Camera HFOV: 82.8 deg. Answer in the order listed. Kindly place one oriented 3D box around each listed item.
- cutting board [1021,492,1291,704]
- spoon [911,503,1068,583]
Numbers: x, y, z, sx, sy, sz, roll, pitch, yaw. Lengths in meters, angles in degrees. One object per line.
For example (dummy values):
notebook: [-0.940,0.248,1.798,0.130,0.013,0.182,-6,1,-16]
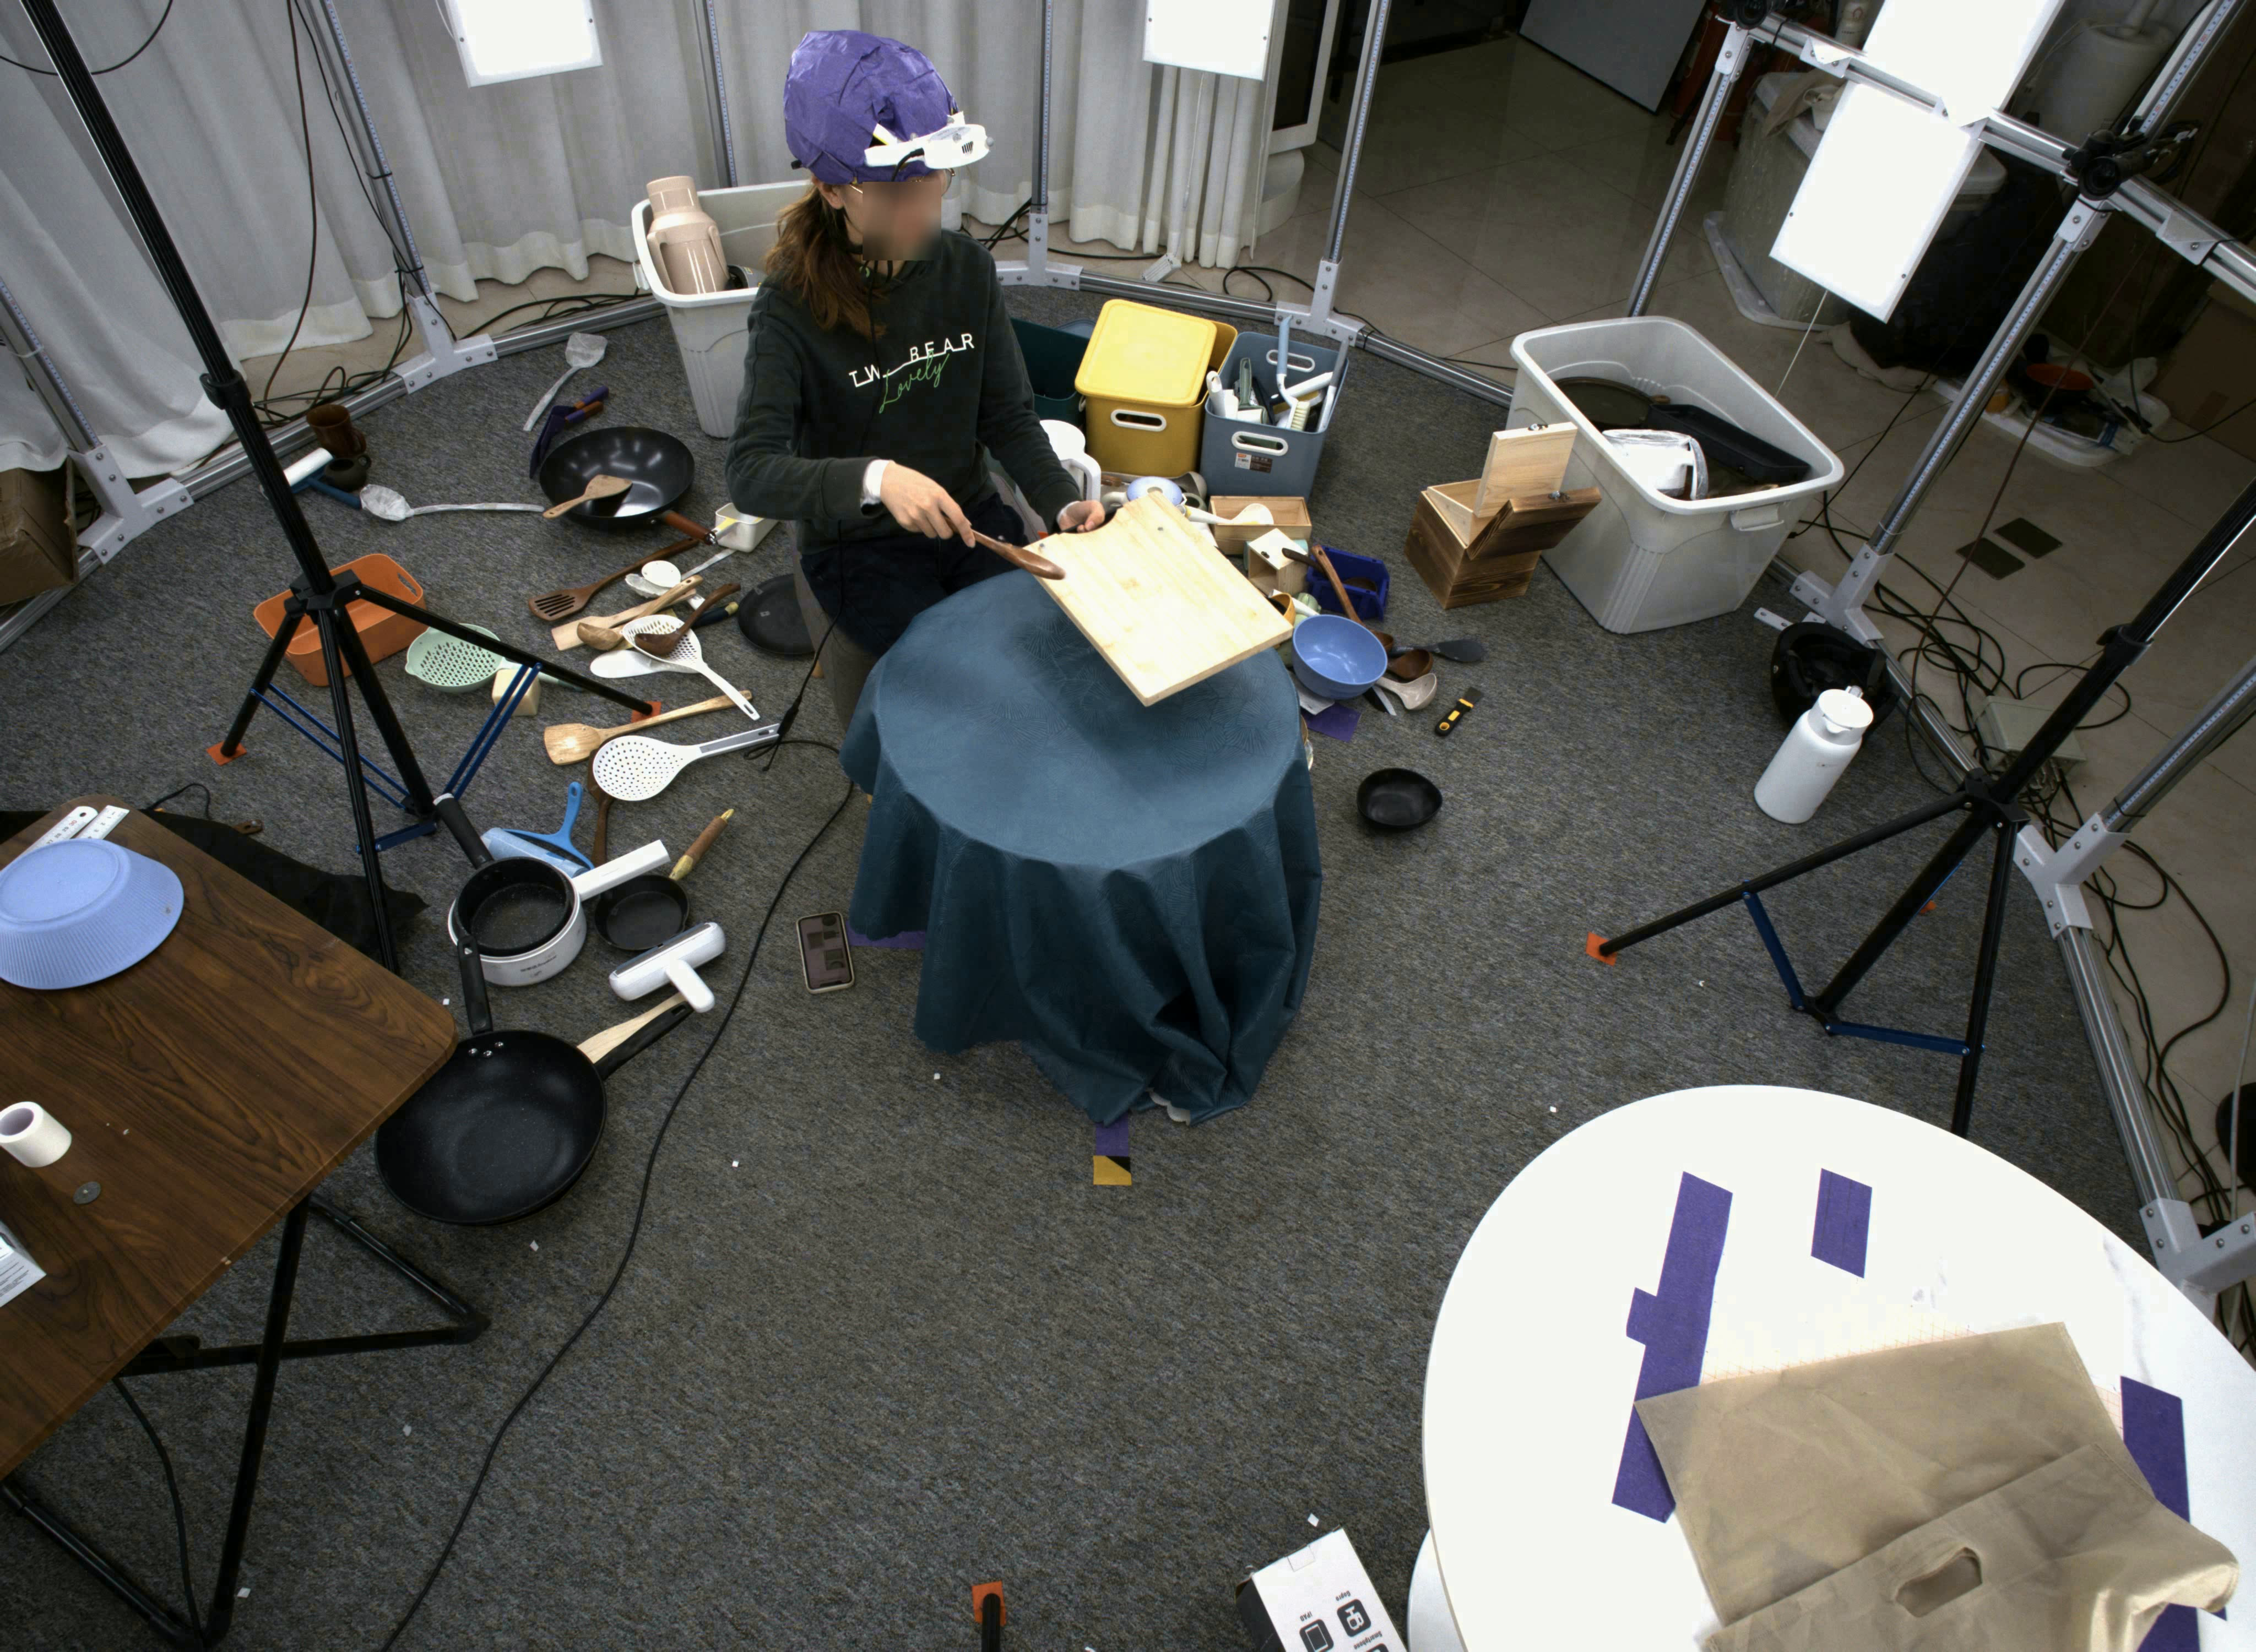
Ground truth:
cutting board: [0.033,-0.330,1.822,0.252,0.023,0.356,-27,56,-19]
spoon: [-0.177,-0.361,1.660,0.215,0.017,0.077,25,24,-7]
